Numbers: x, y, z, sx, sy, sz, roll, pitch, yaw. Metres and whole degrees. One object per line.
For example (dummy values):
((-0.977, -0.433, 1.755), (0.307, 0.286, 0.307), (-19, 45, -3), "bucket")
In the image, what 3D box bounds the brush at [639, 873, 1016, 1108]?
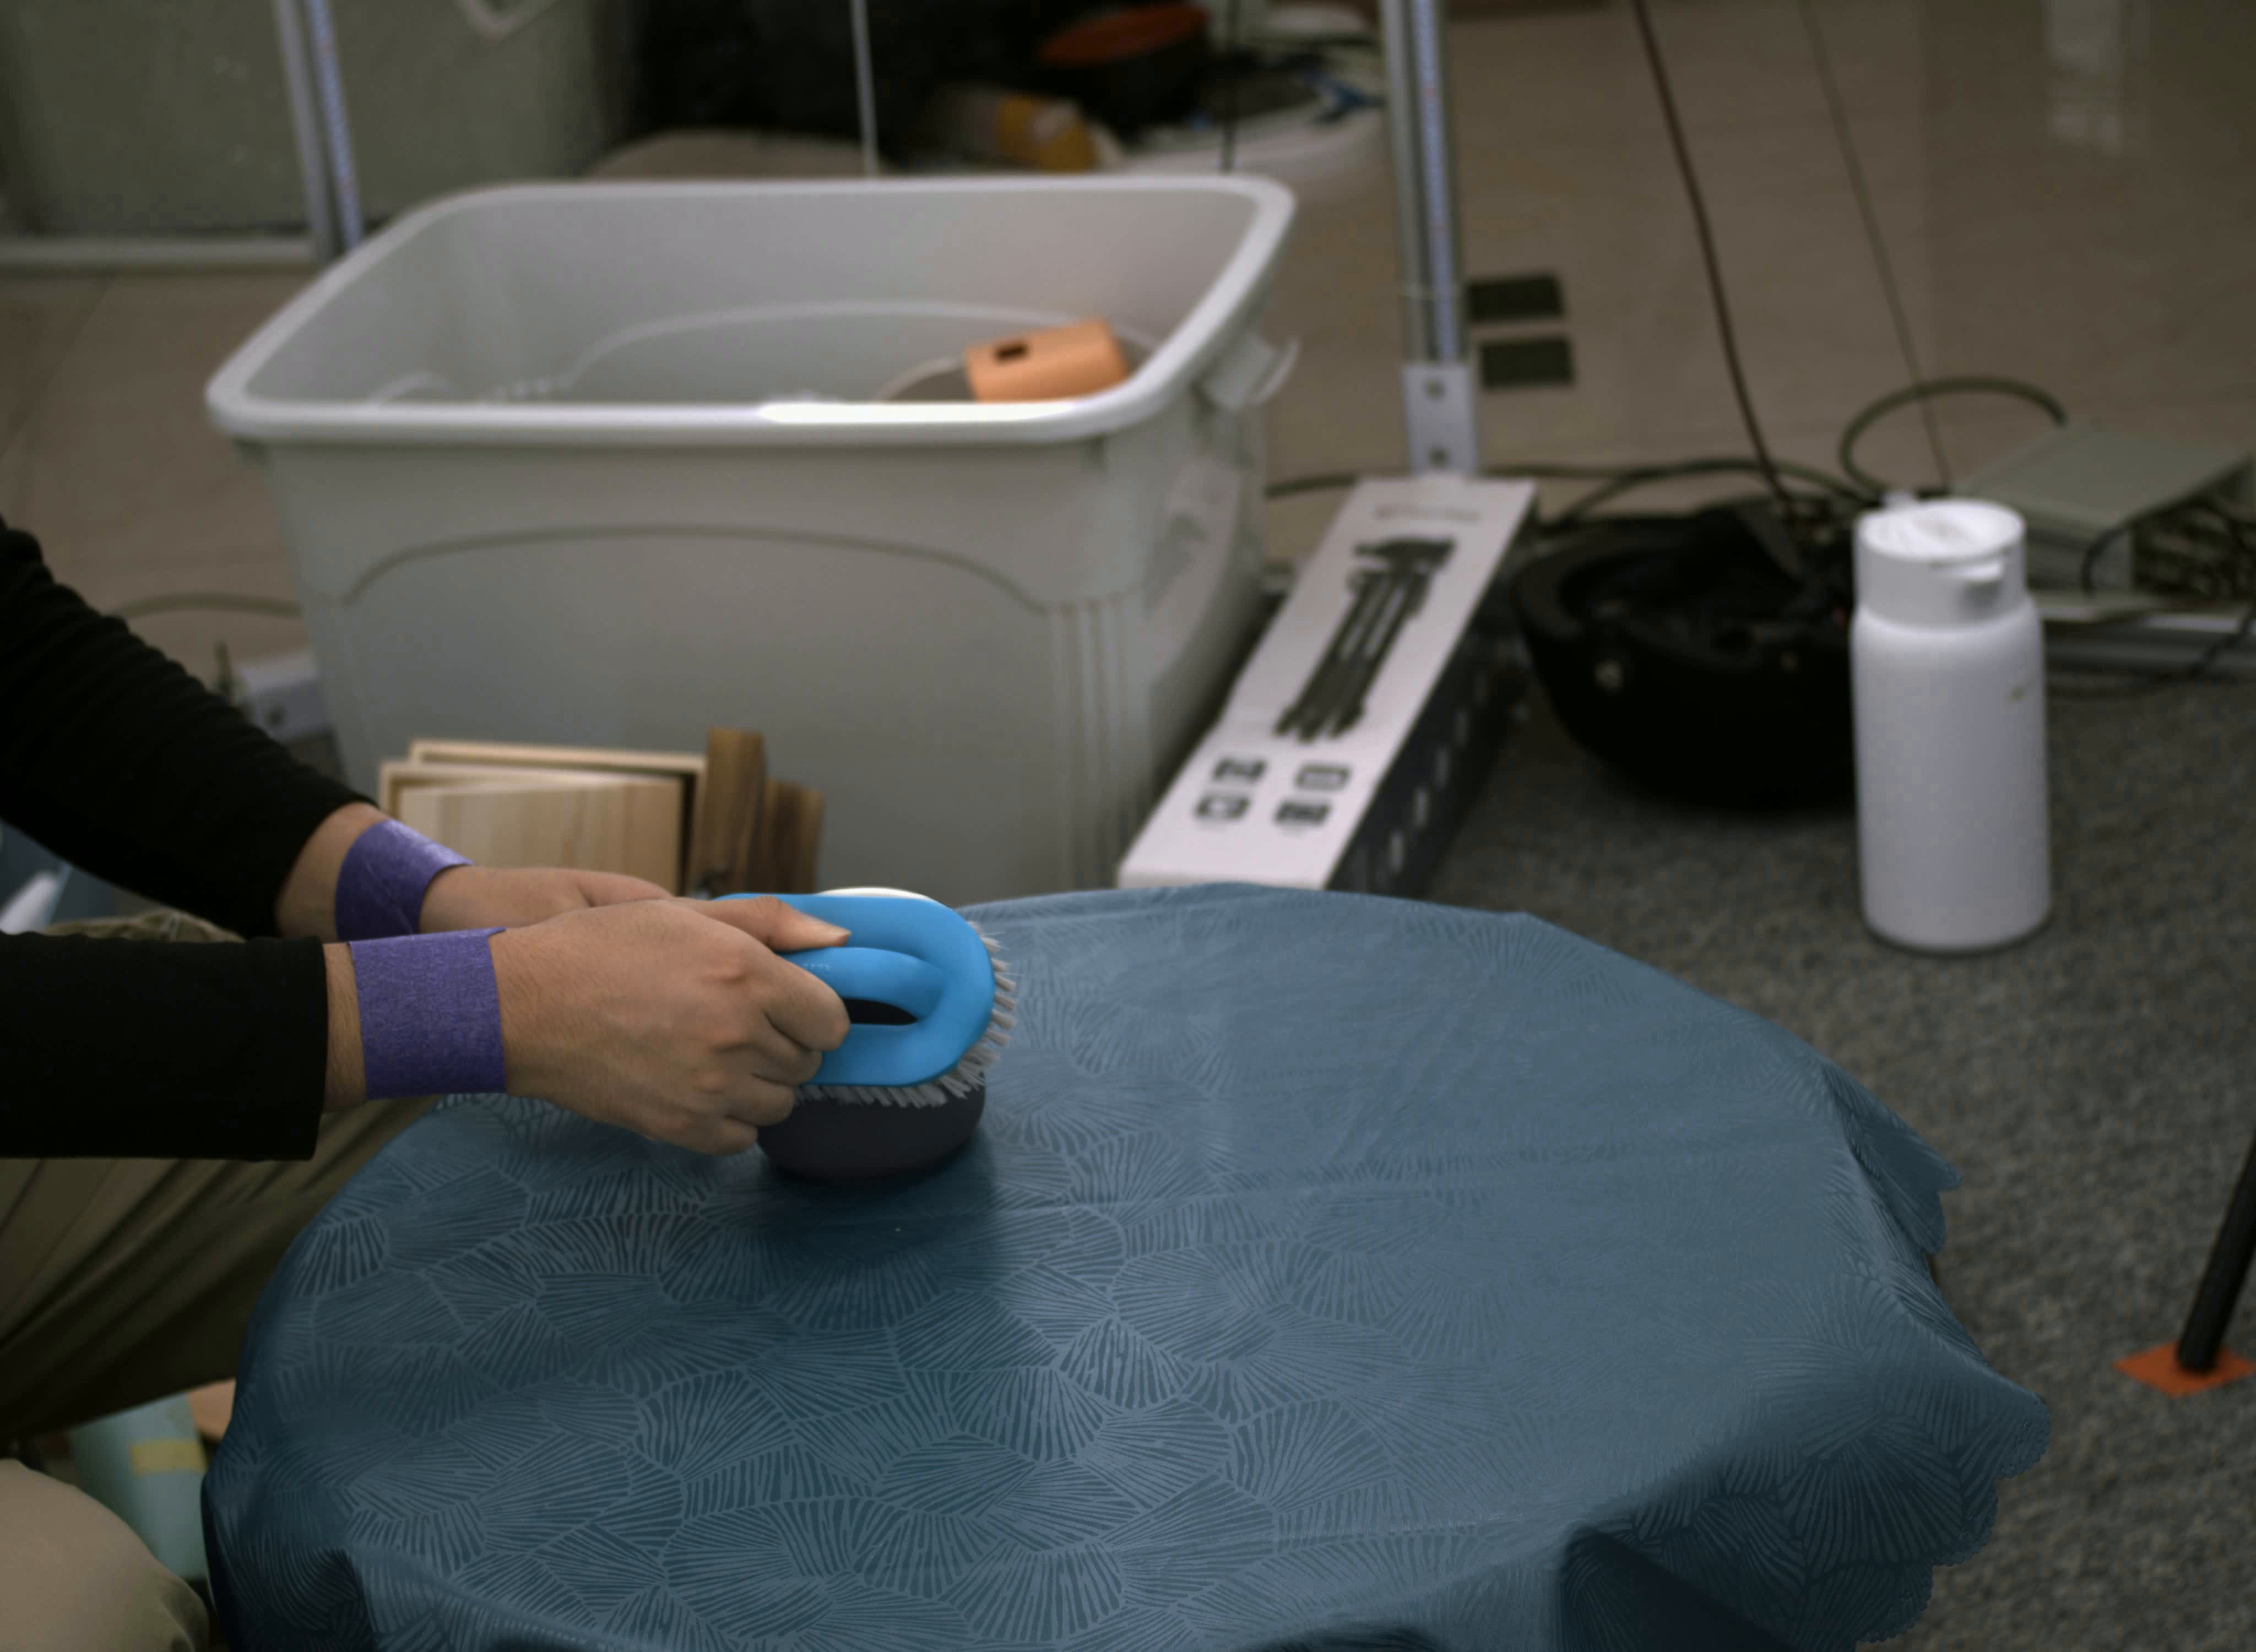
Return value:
((-0.118, 0.058, 2.122), (0.141, 0.084, 0.064), (3, -9, 17), "brush")

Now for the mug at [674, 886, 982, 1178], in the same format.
((-0.119, 0.078, 2.192), (0.123, 0.091, 0.092), (5, 27, 19), "mug")
